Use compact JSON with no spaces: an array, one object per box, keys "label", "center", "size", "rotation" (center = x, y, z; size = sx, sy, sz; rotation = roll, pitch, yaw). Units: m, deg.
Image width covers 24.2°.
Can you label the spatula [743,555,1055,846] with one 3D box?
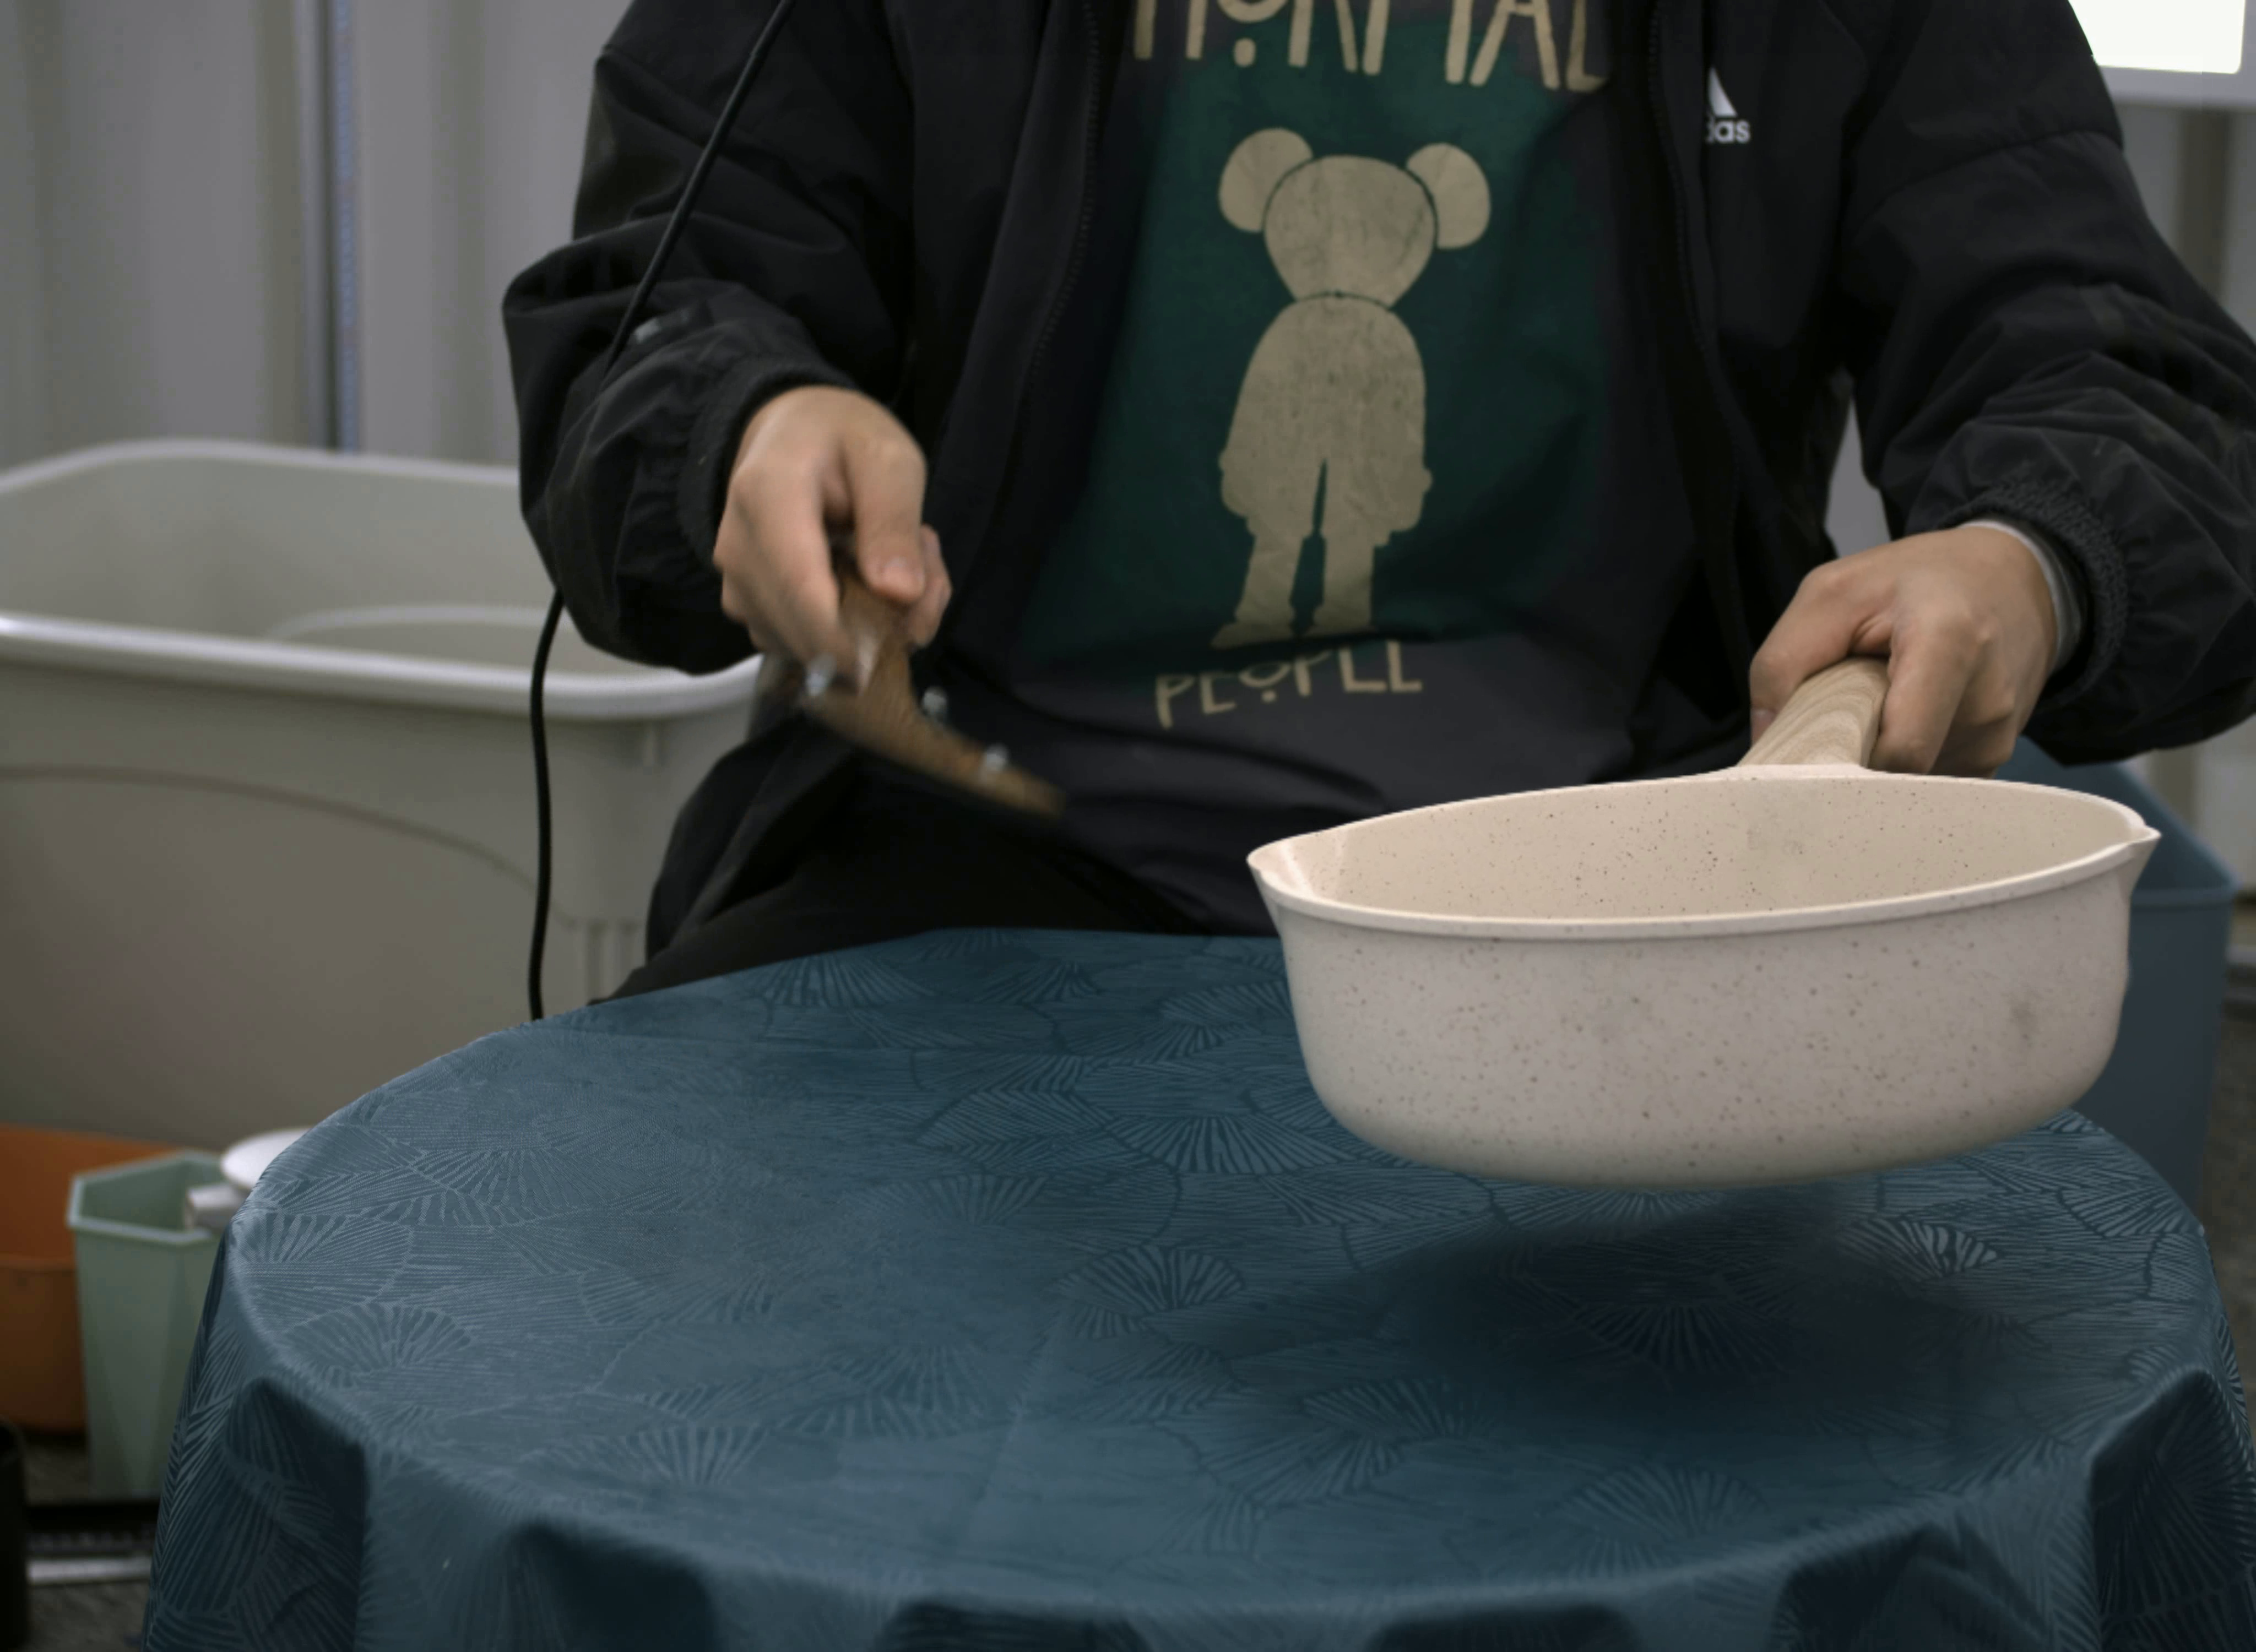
[{"label":"spatula","center":[-0.080,-0.048,1.653],"size":[0.096,0.016,0.383],"rotation":[23,10,-10]}]

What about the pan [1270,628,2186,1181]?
[{"label":"pan","center":[0.199,0.019,1.588],"size":[0.261,0.102,0.435],"rotation":[-3,9,18]}]
